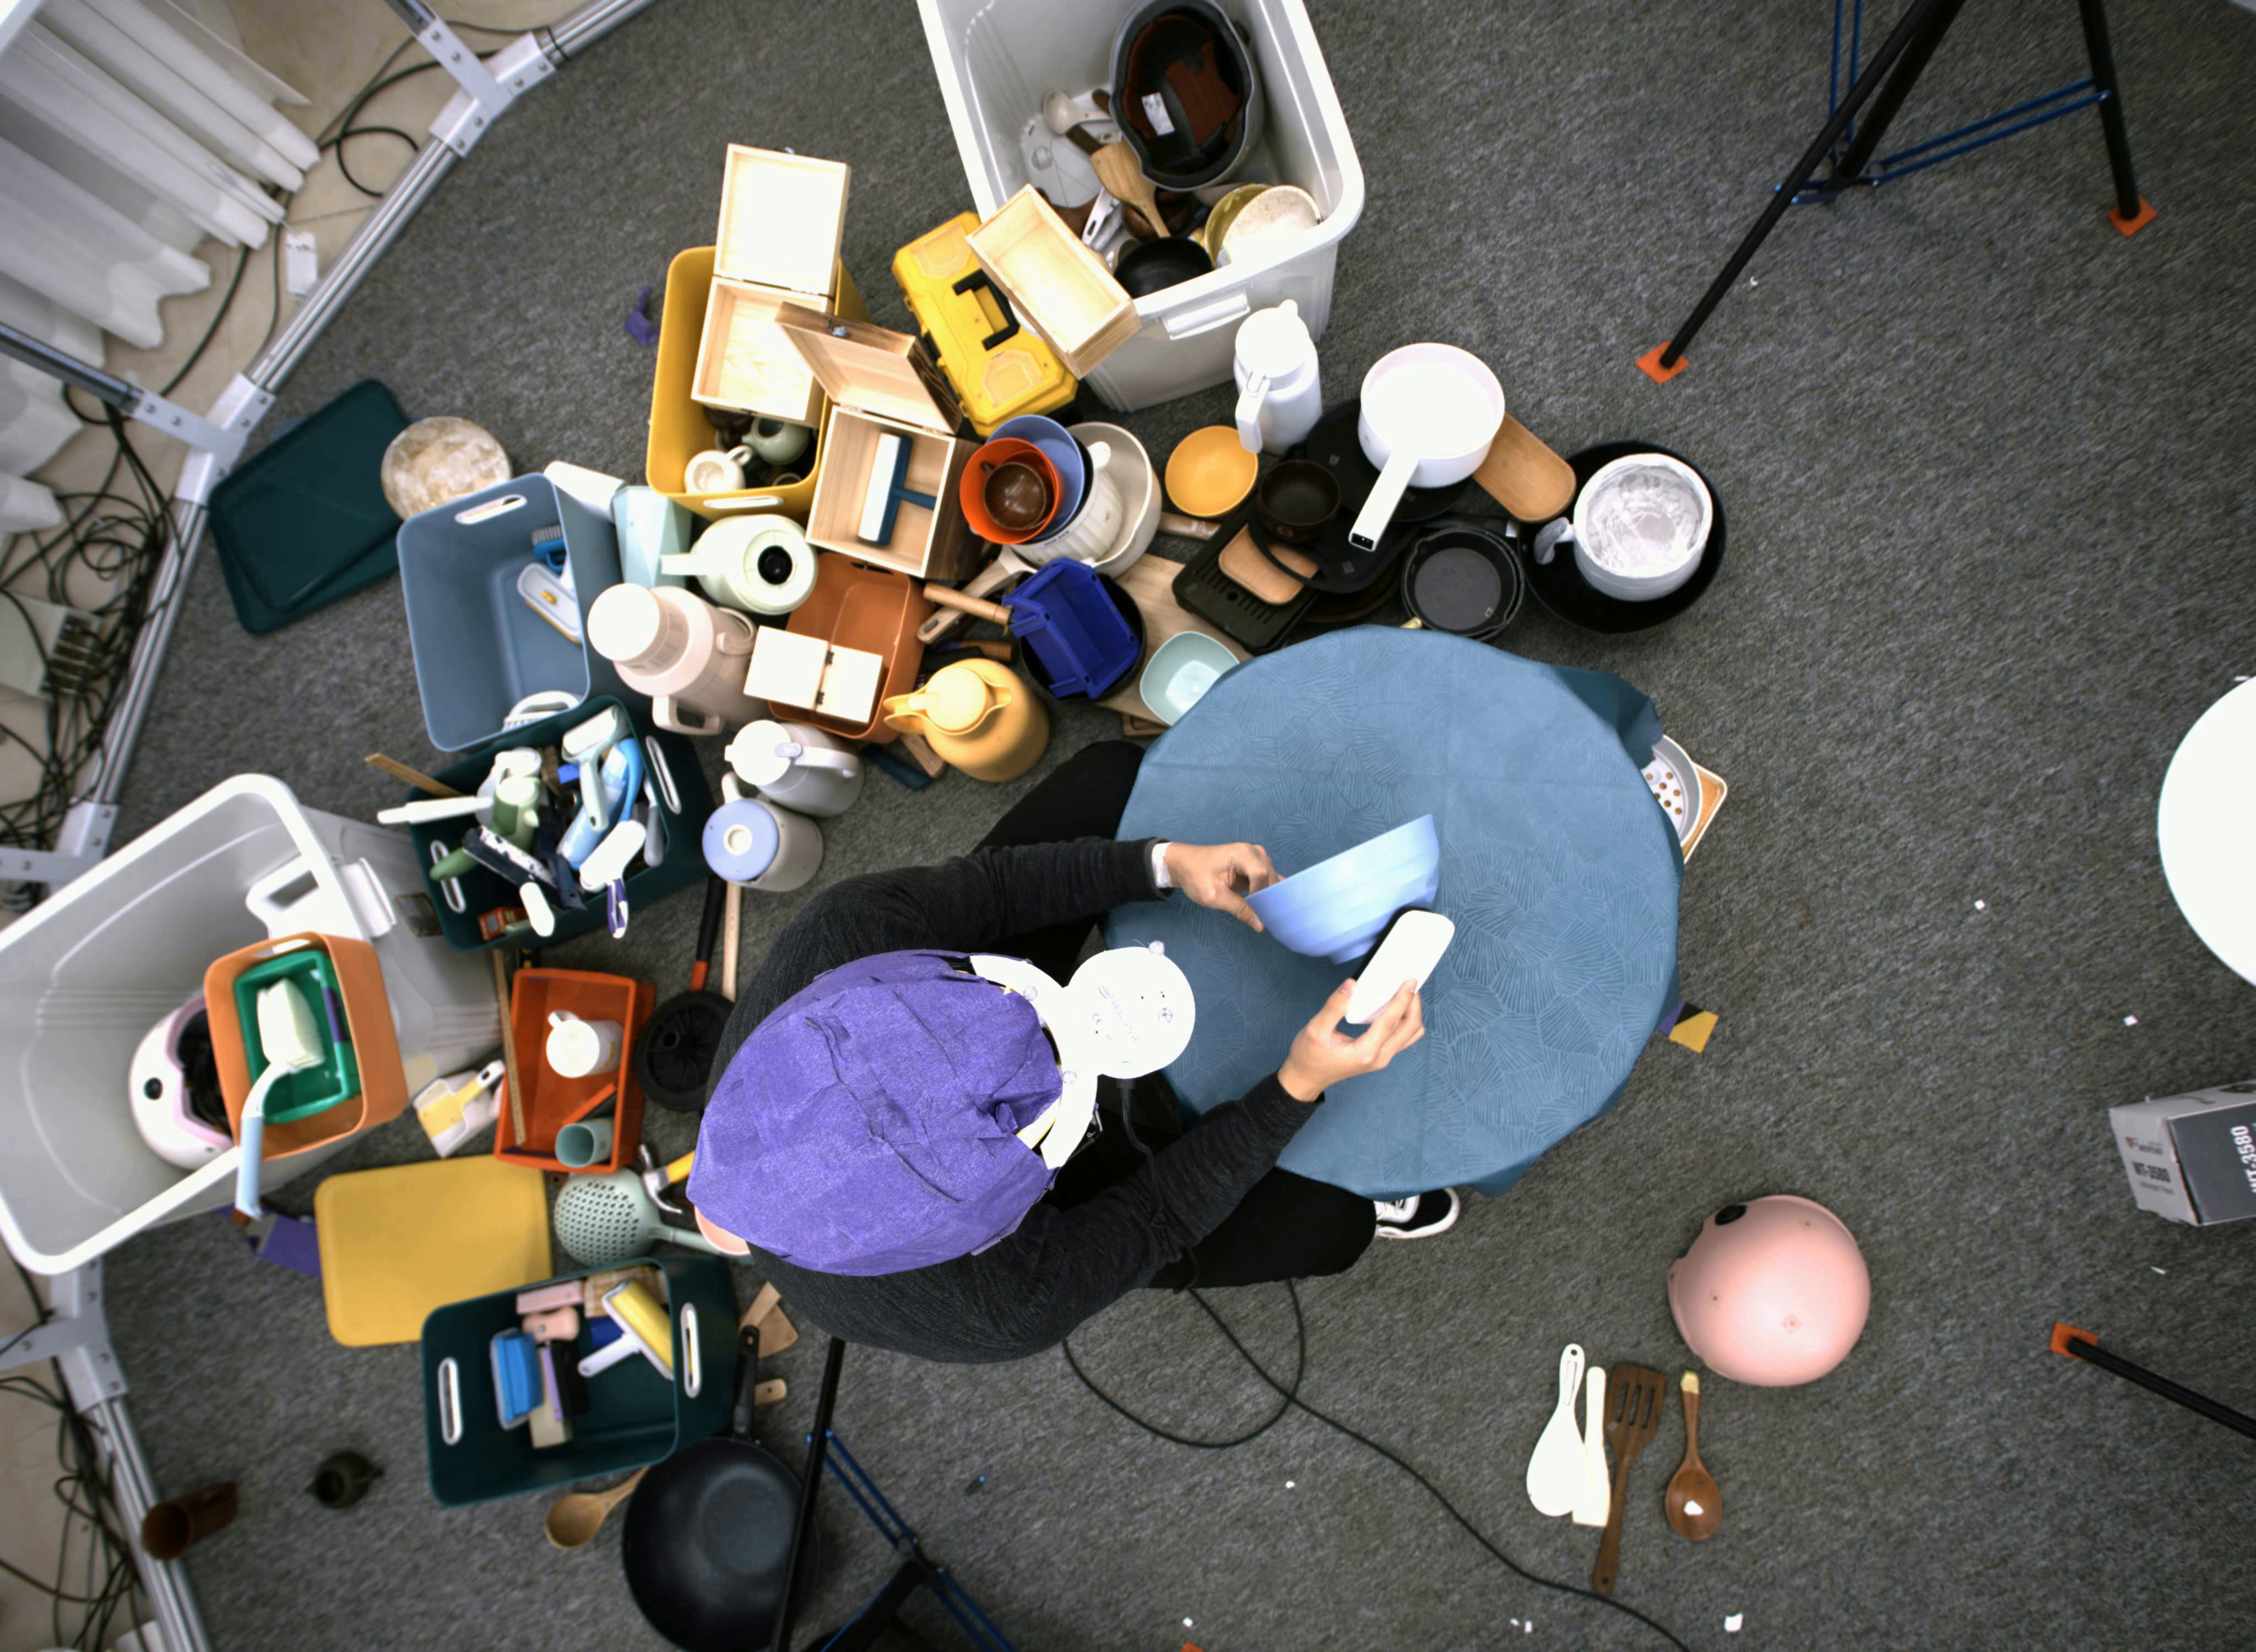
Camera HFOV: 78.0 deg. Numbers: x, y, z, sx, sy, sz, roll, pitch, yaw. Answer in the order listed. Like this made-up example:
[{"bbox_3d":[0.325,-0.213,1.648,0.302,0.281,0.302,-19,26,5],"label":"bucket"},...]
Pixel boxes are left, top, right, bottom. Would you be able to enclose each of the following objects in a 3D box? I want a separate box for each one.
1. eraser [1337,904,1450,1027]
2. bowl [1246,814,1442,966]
[{"bbox_3d":[0.244,0.131,1.280,0.134,0.063,0.034,-63,36,28],"label":"eraser"},{"bbox_3d":[0.221,0.071,1.325,0.197,0.196,0.095,-25,85,7],"label":"bowl"}]
